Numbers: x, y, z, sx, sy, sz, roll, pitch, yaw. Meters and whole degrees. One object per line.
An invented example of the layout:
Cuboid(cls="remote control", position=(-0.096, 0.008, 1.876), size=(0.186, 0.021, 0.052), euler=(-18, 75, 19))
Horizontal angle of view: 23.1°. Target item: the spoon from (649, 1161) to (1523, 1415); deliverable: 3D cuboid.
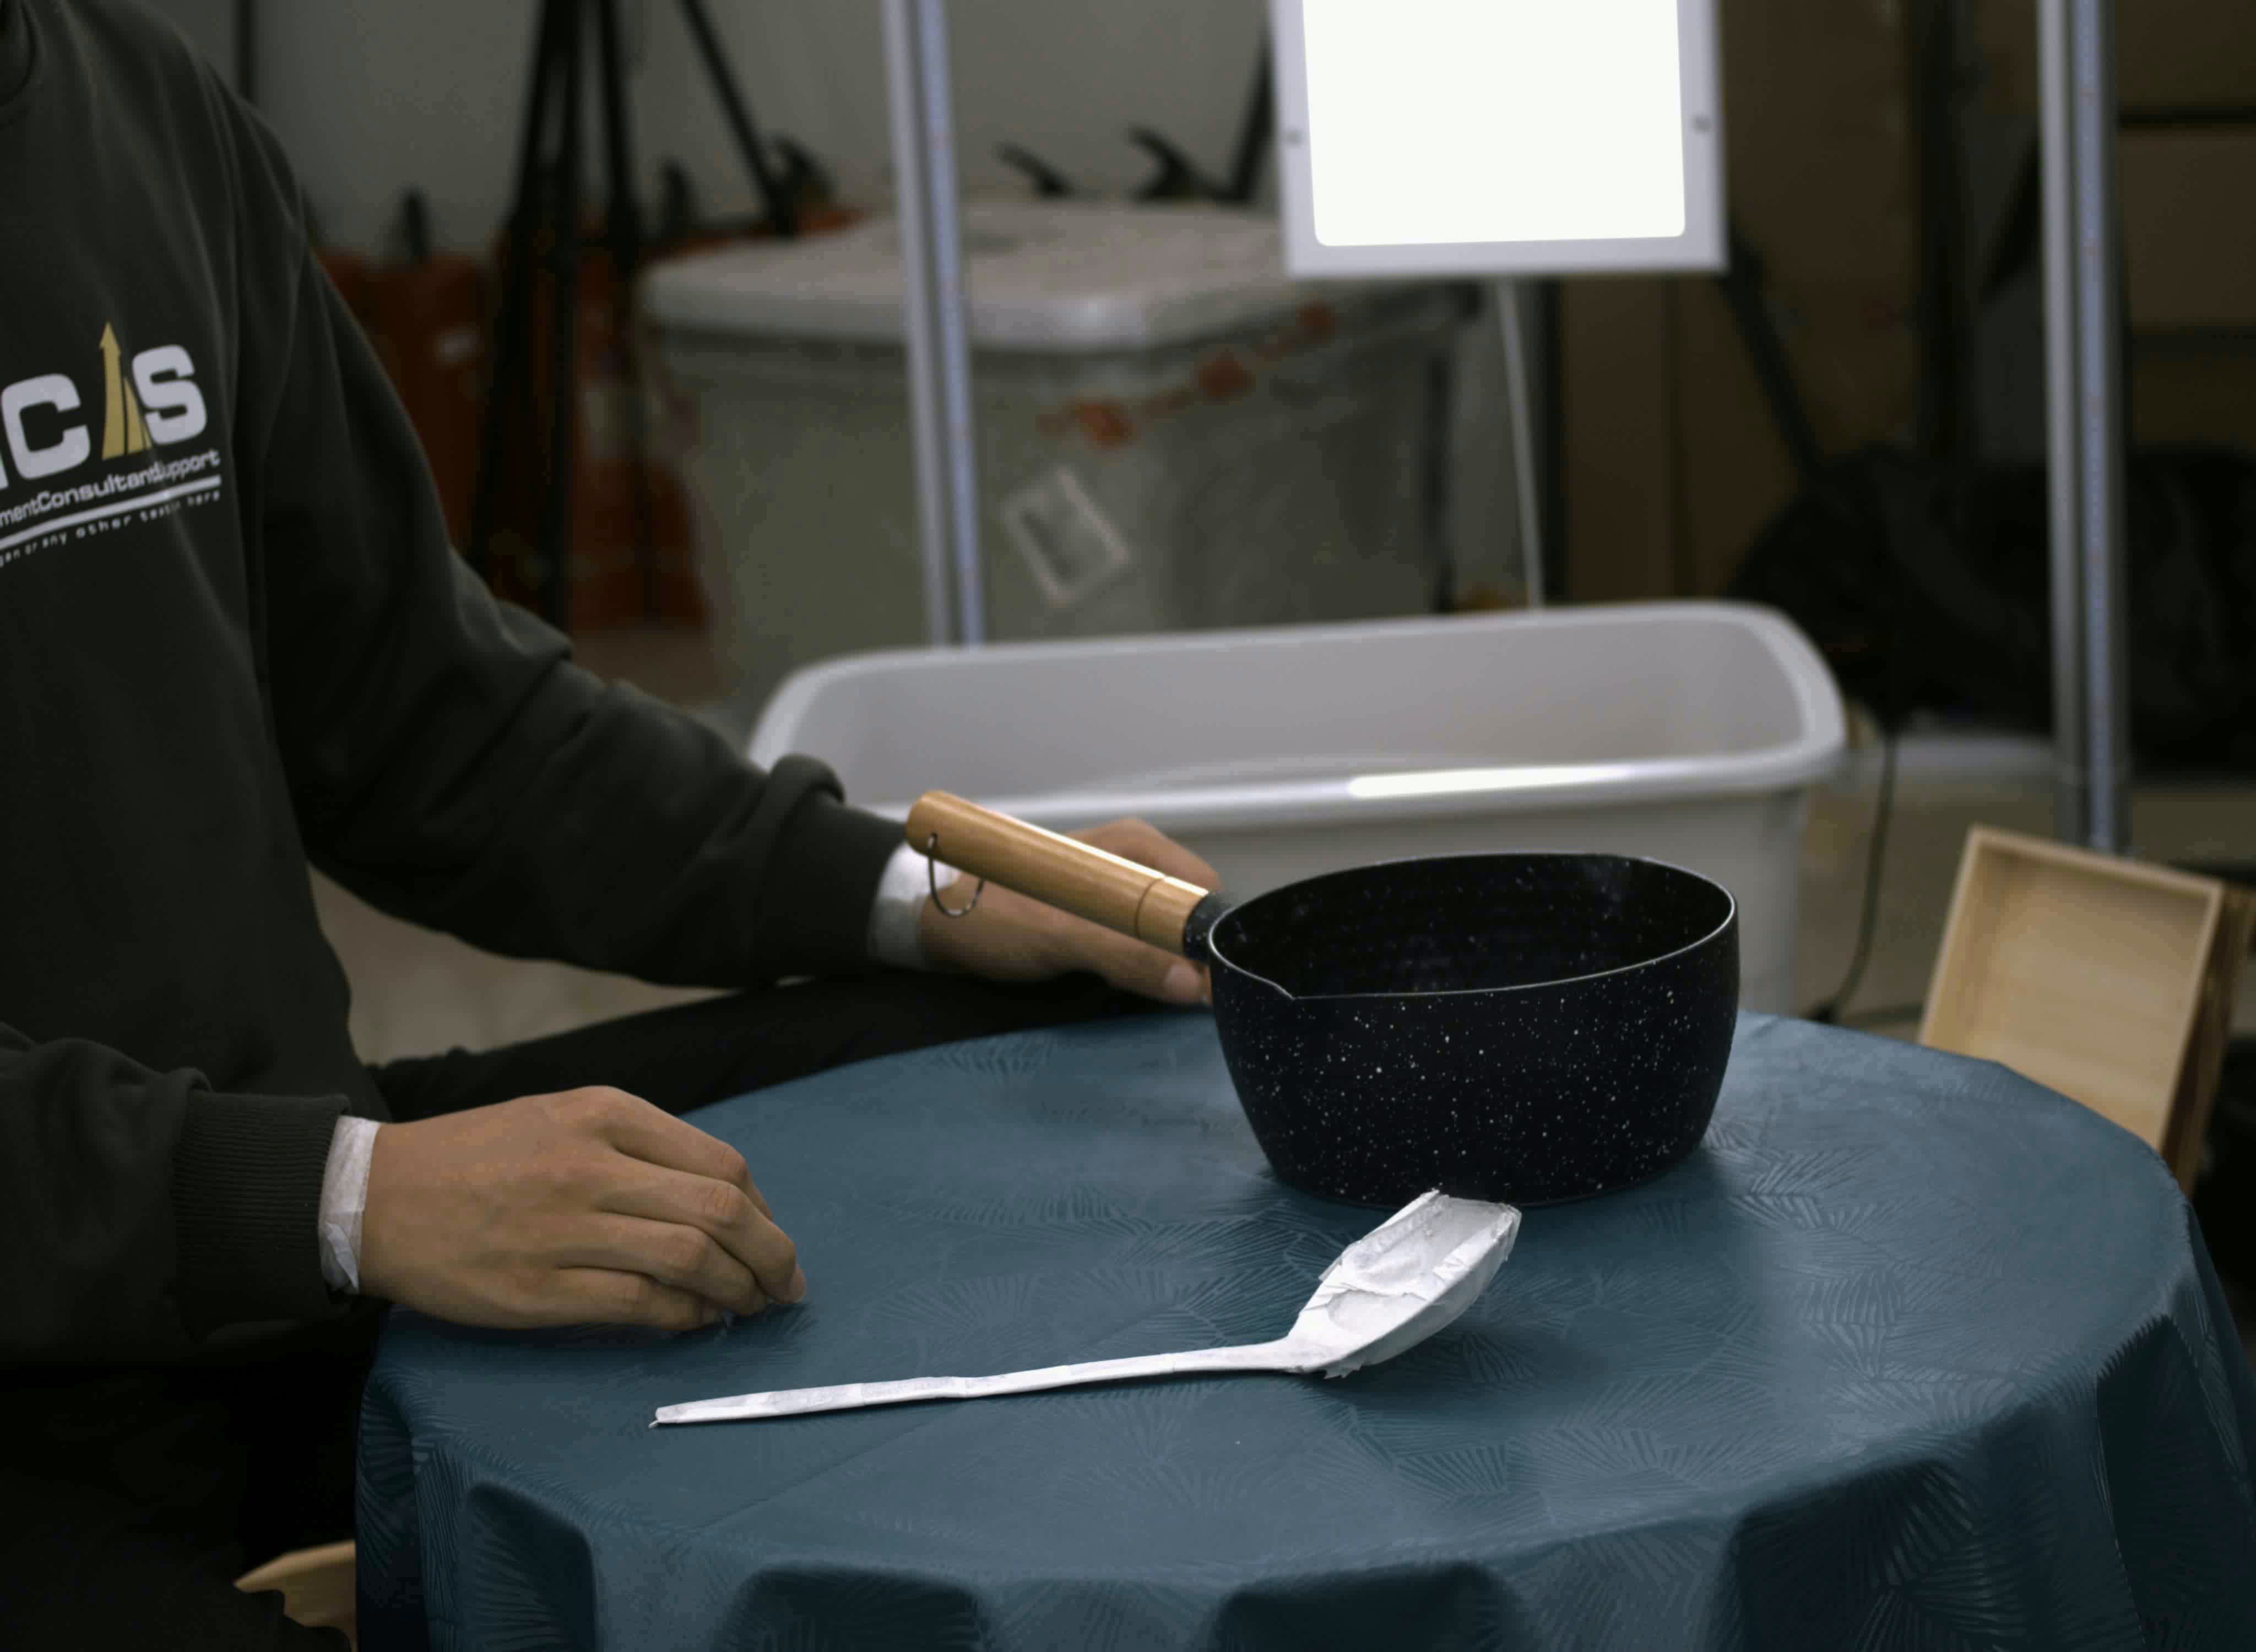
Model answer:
Cuboid(cls="spoon", position=(-0.013, 0.144, 1.717), size=(0.277, 0.059, 0.100), euler=(-4, 11, 4))

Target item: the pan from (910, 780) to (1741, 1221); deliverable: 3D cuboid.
Cuboid(cls="pan", position=(0.058, 0.054, 1.951), size=(0.350, 0.108, 0.202), euler=(8, 20, 38))
